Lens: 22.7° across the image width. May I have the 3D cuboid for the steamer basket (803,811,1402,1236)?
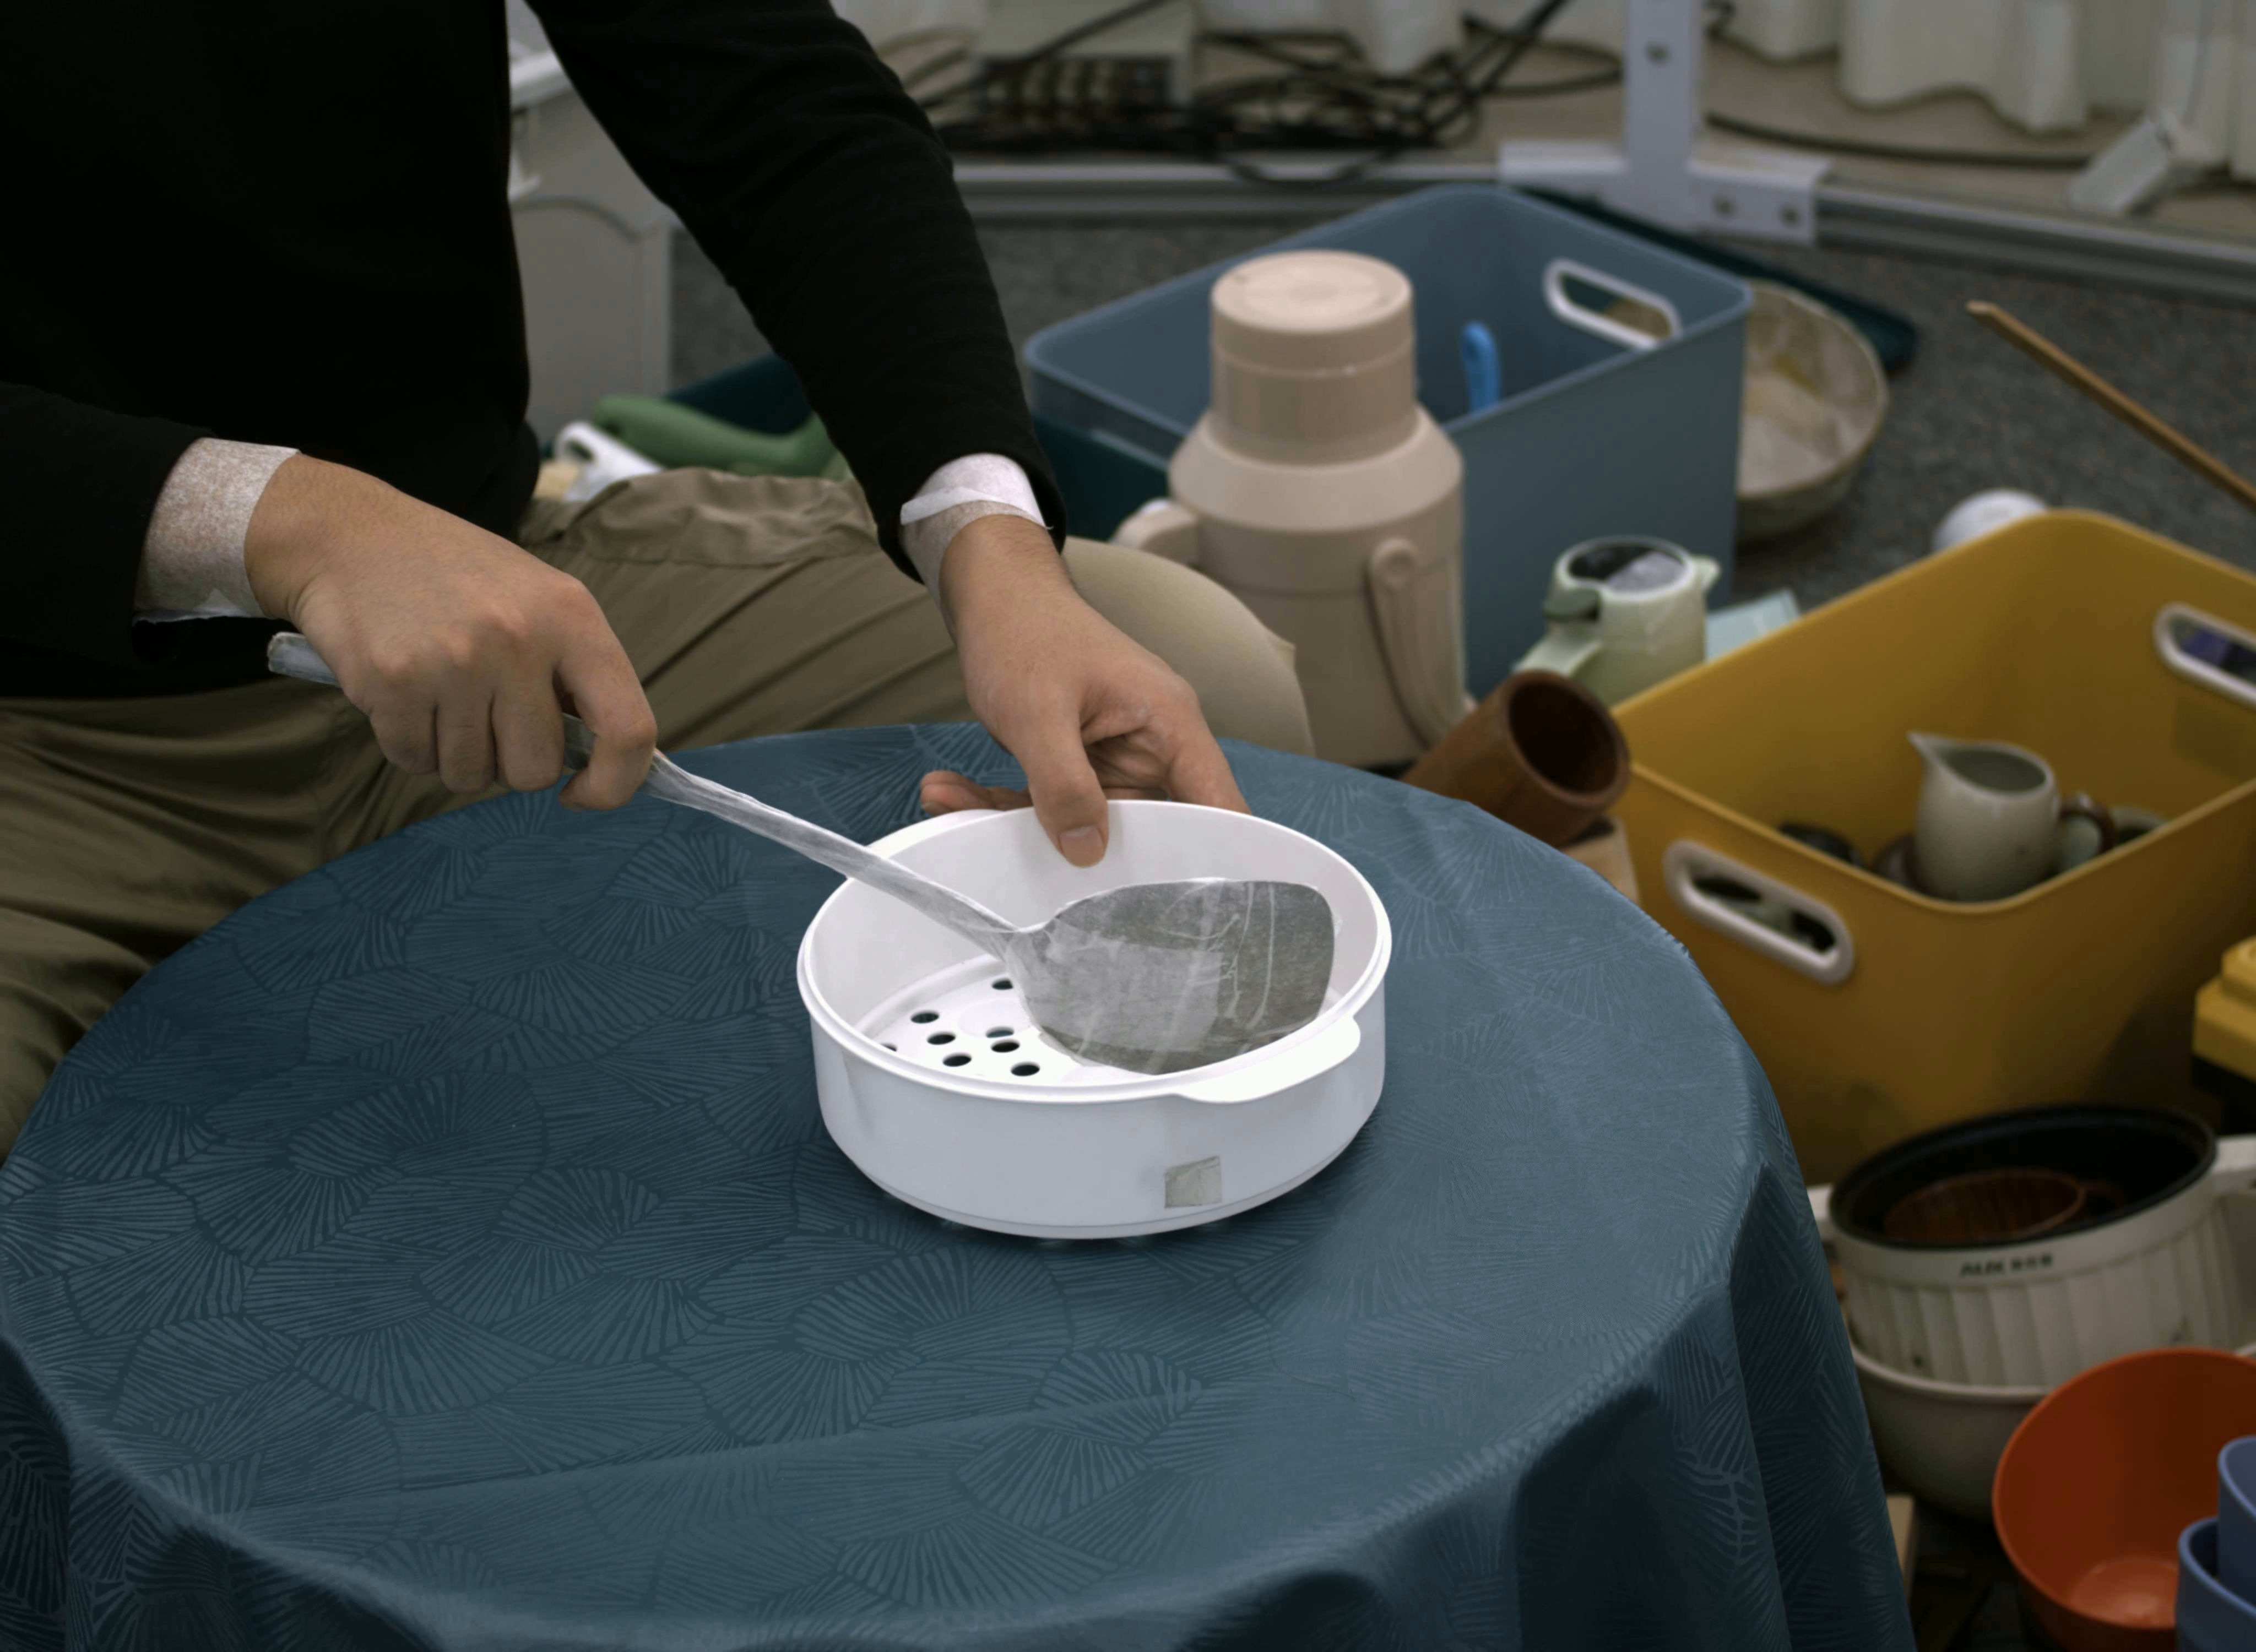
[{"bbox_3d":[-0.007,0.067,1.892,0.203,0.068,0.231,-19,30,-31],"label":"steamer basket"}]

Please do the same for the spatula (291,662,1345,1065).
[{"bbox_3d":[-0.105,0.003,1.880,0.364,0.097,0.045,22,44,5],"label":"spatula"}]
